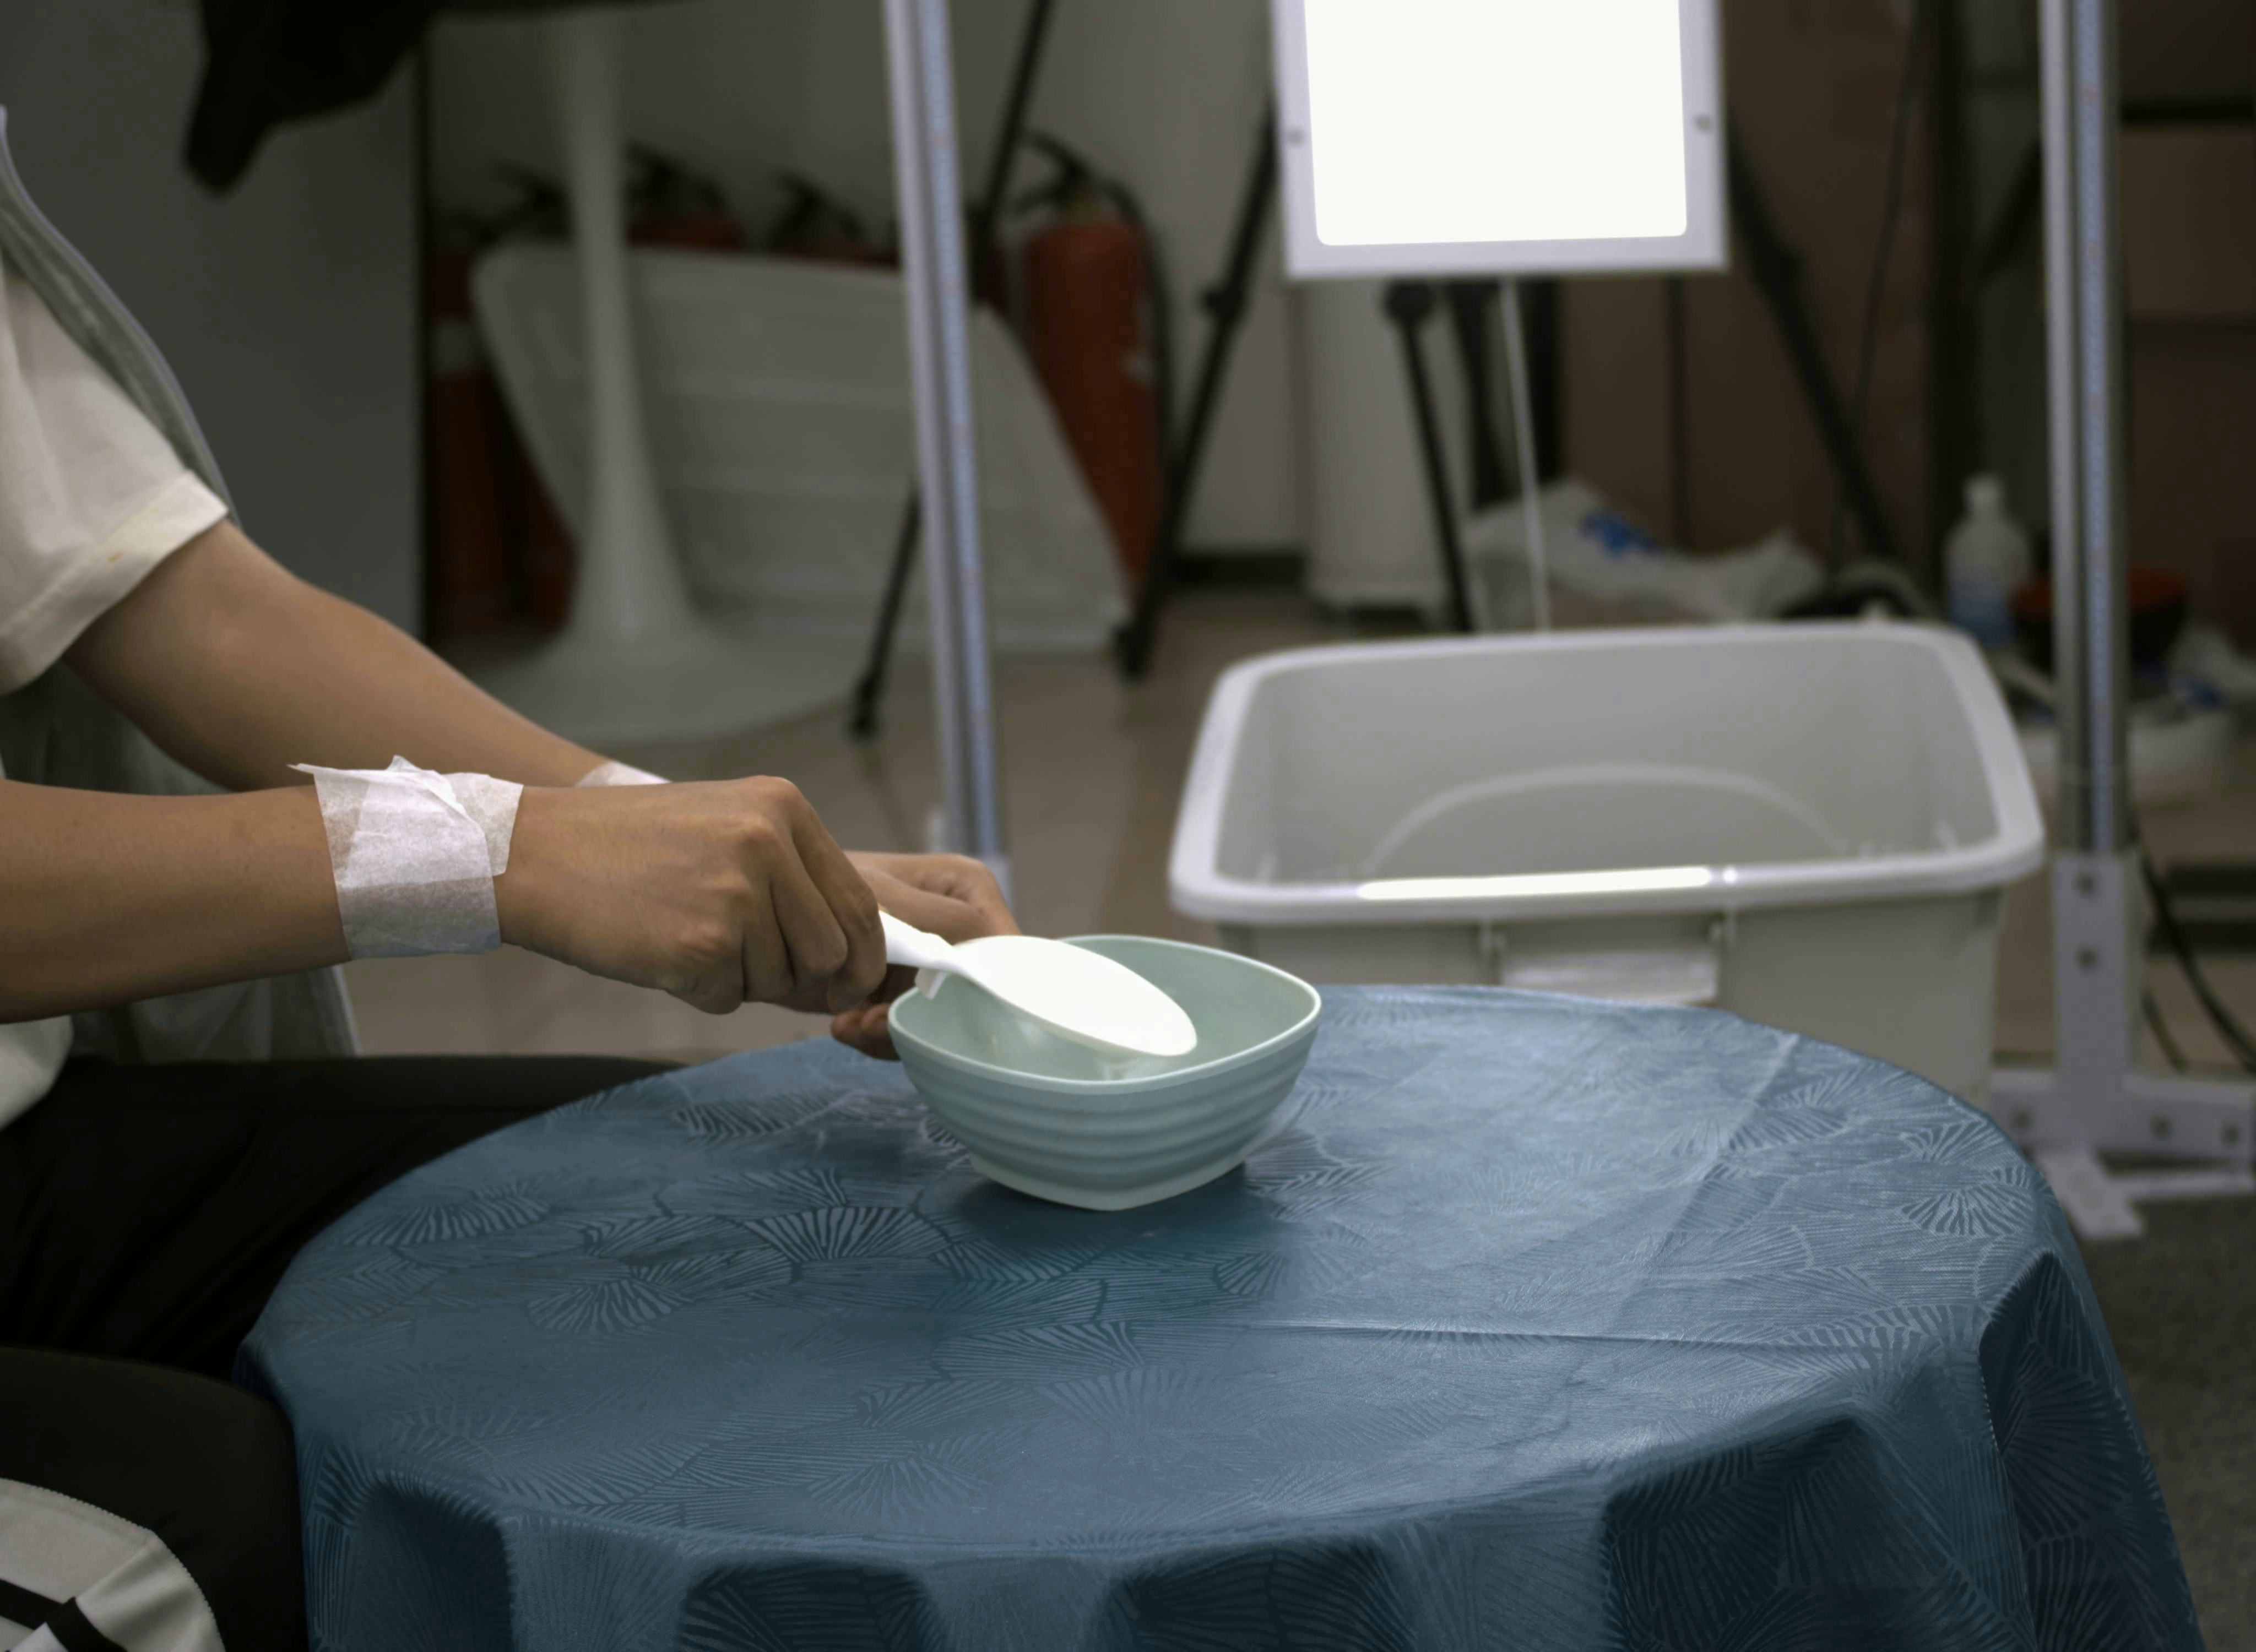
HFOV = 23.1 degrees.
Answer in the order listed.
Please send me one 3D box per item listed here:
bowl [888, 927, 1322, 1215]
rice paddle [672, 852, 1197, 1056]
[{"bbox_3d":[-0.008,0.089,1.916,0.151,0.059,0.151,-1,20,-1],"label":"bowl"},{"bbox_3d":[-0.059,0.044,1.867,0.201,0.030,0.069,15,24,-31],"label":"rice paddle"}]
